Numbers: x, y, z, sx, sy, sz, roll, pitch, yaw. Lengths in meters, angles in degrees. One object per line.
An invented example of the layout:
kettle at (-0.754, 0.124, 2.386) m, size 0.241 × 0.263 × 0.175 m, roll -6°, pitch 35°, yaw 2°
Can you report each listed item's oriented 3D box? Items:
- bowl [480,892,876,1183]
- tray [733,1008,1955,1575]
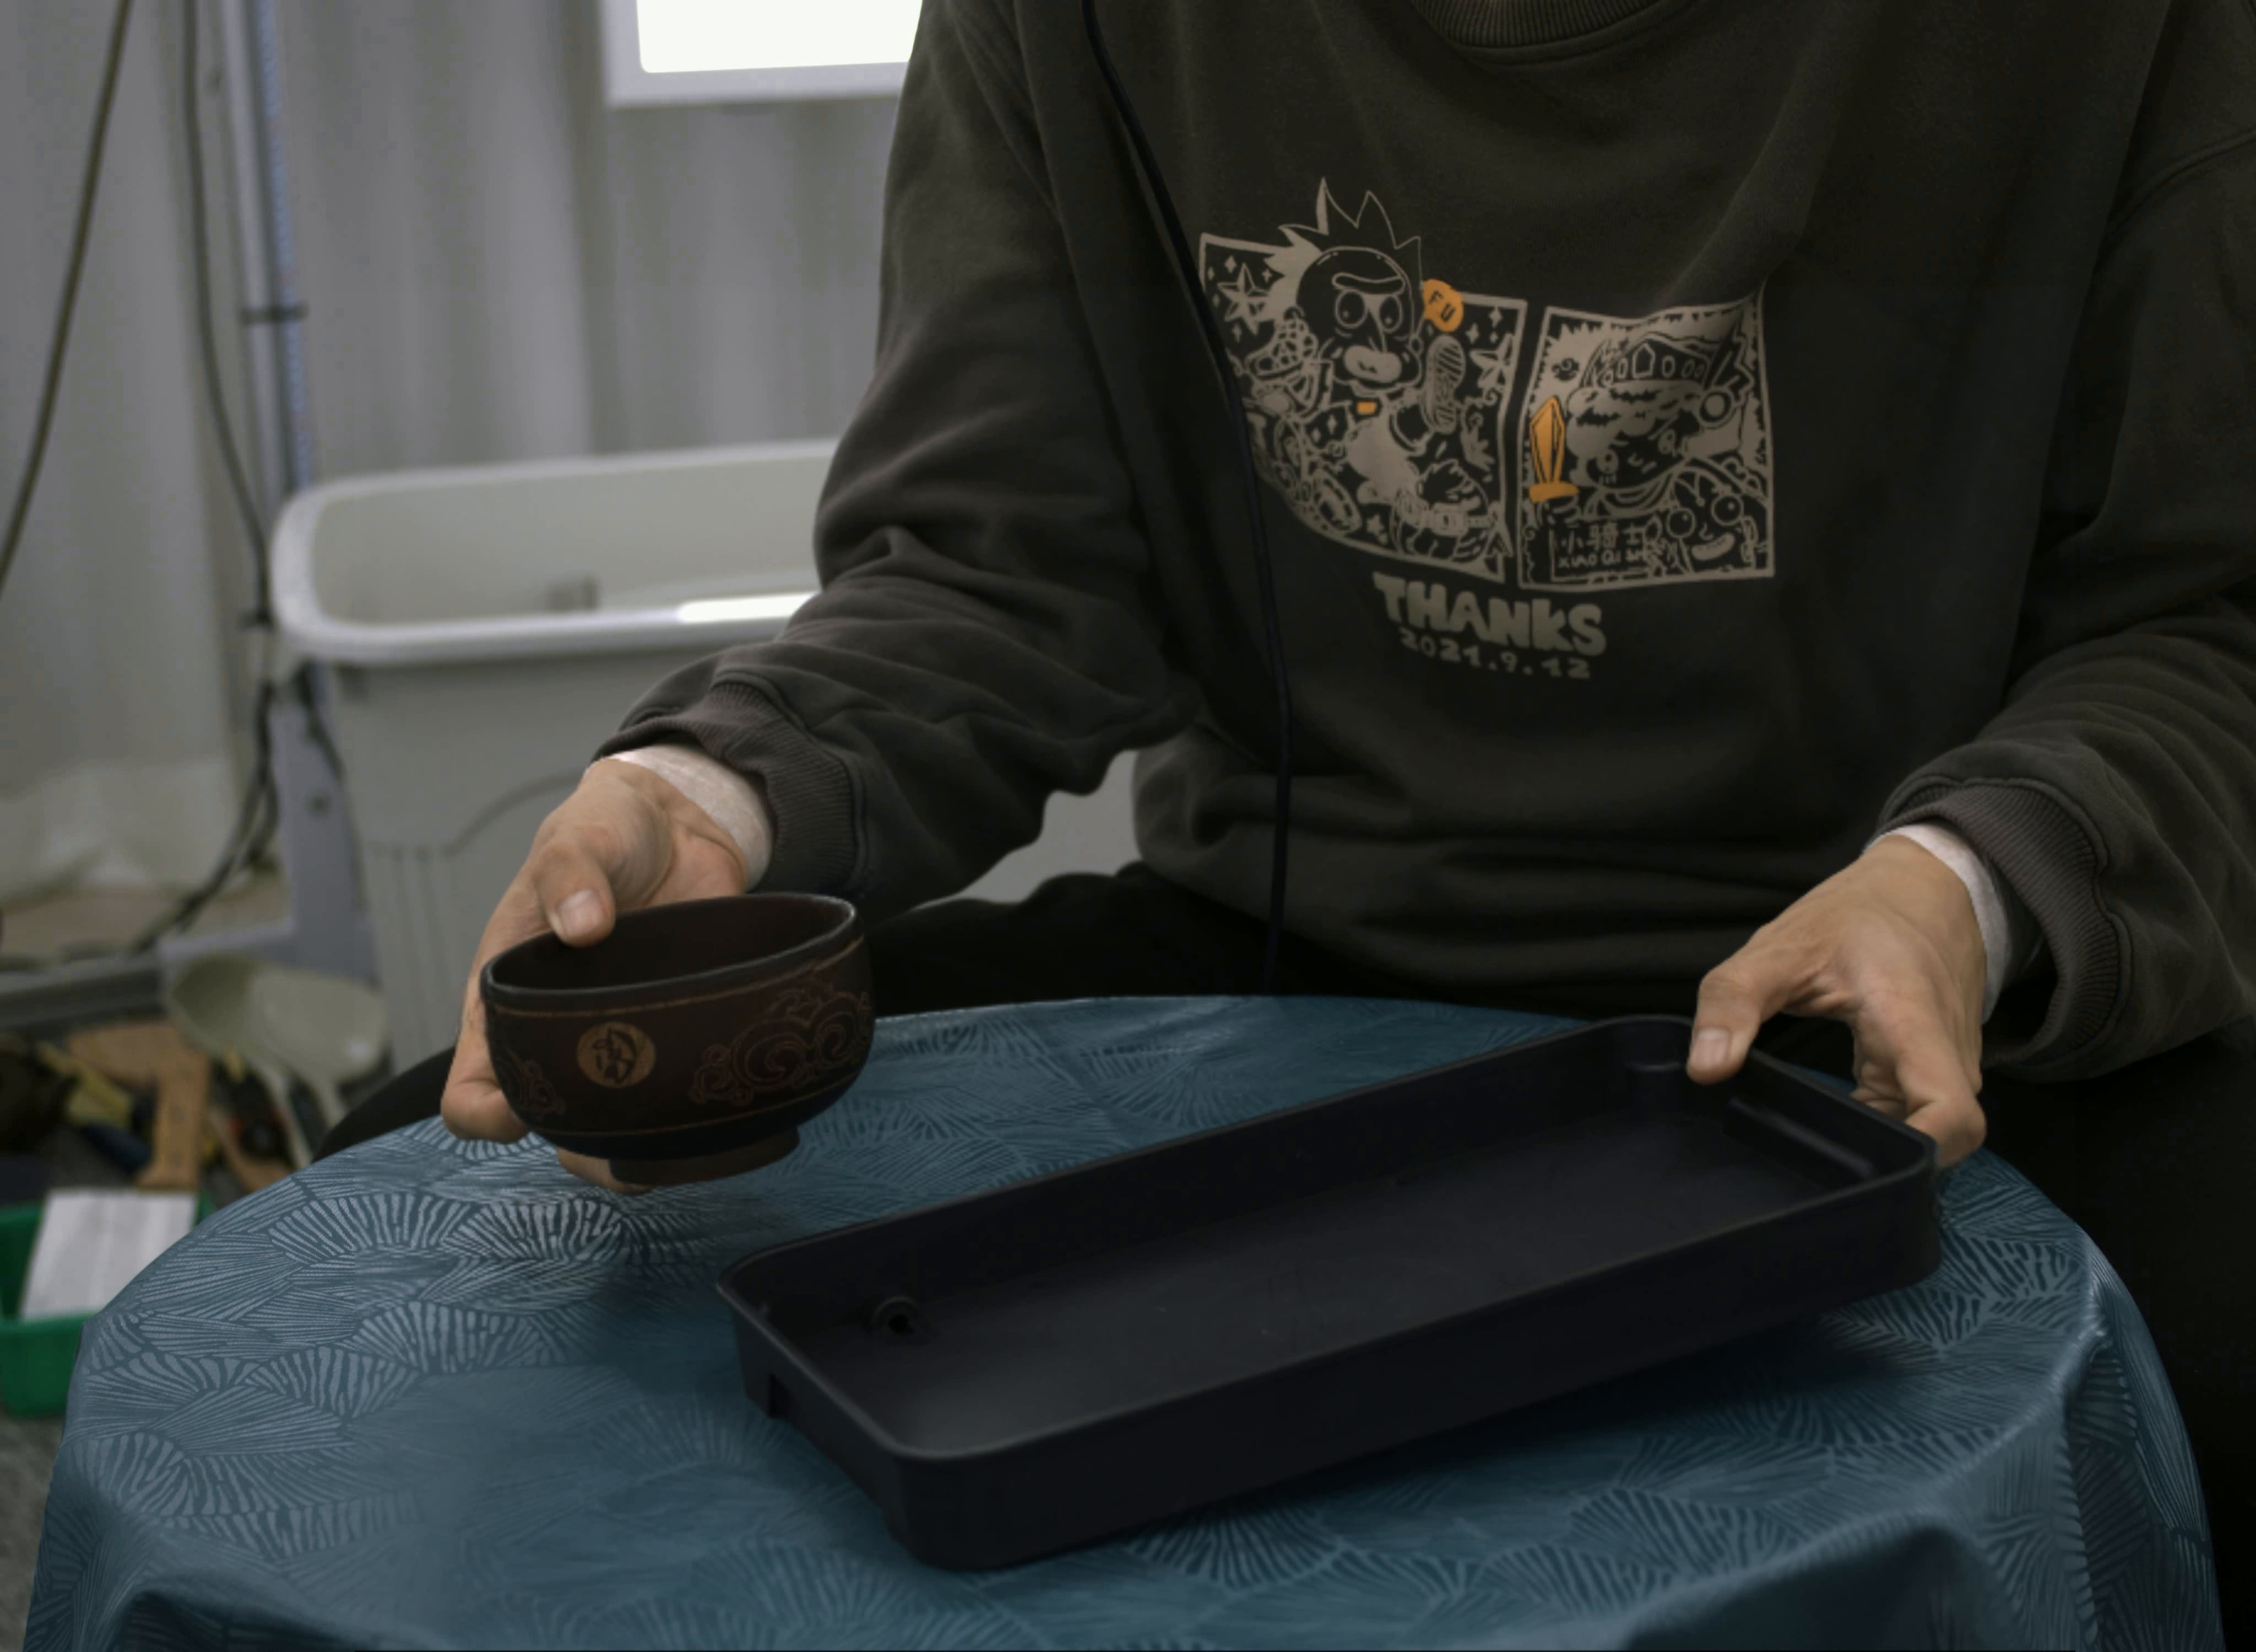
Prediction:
bowl at (-0.132, 0.067, 1.650) m, size 0.117 × 0.070 × 0.118 m, roll -9°, pitch 9°, yaw 1°
tray at (0.062, 0.126, 1.550) m, size 0.317 × 0.037 × 0.185 m, roll -16°, pitch 17°, yaw -21°
